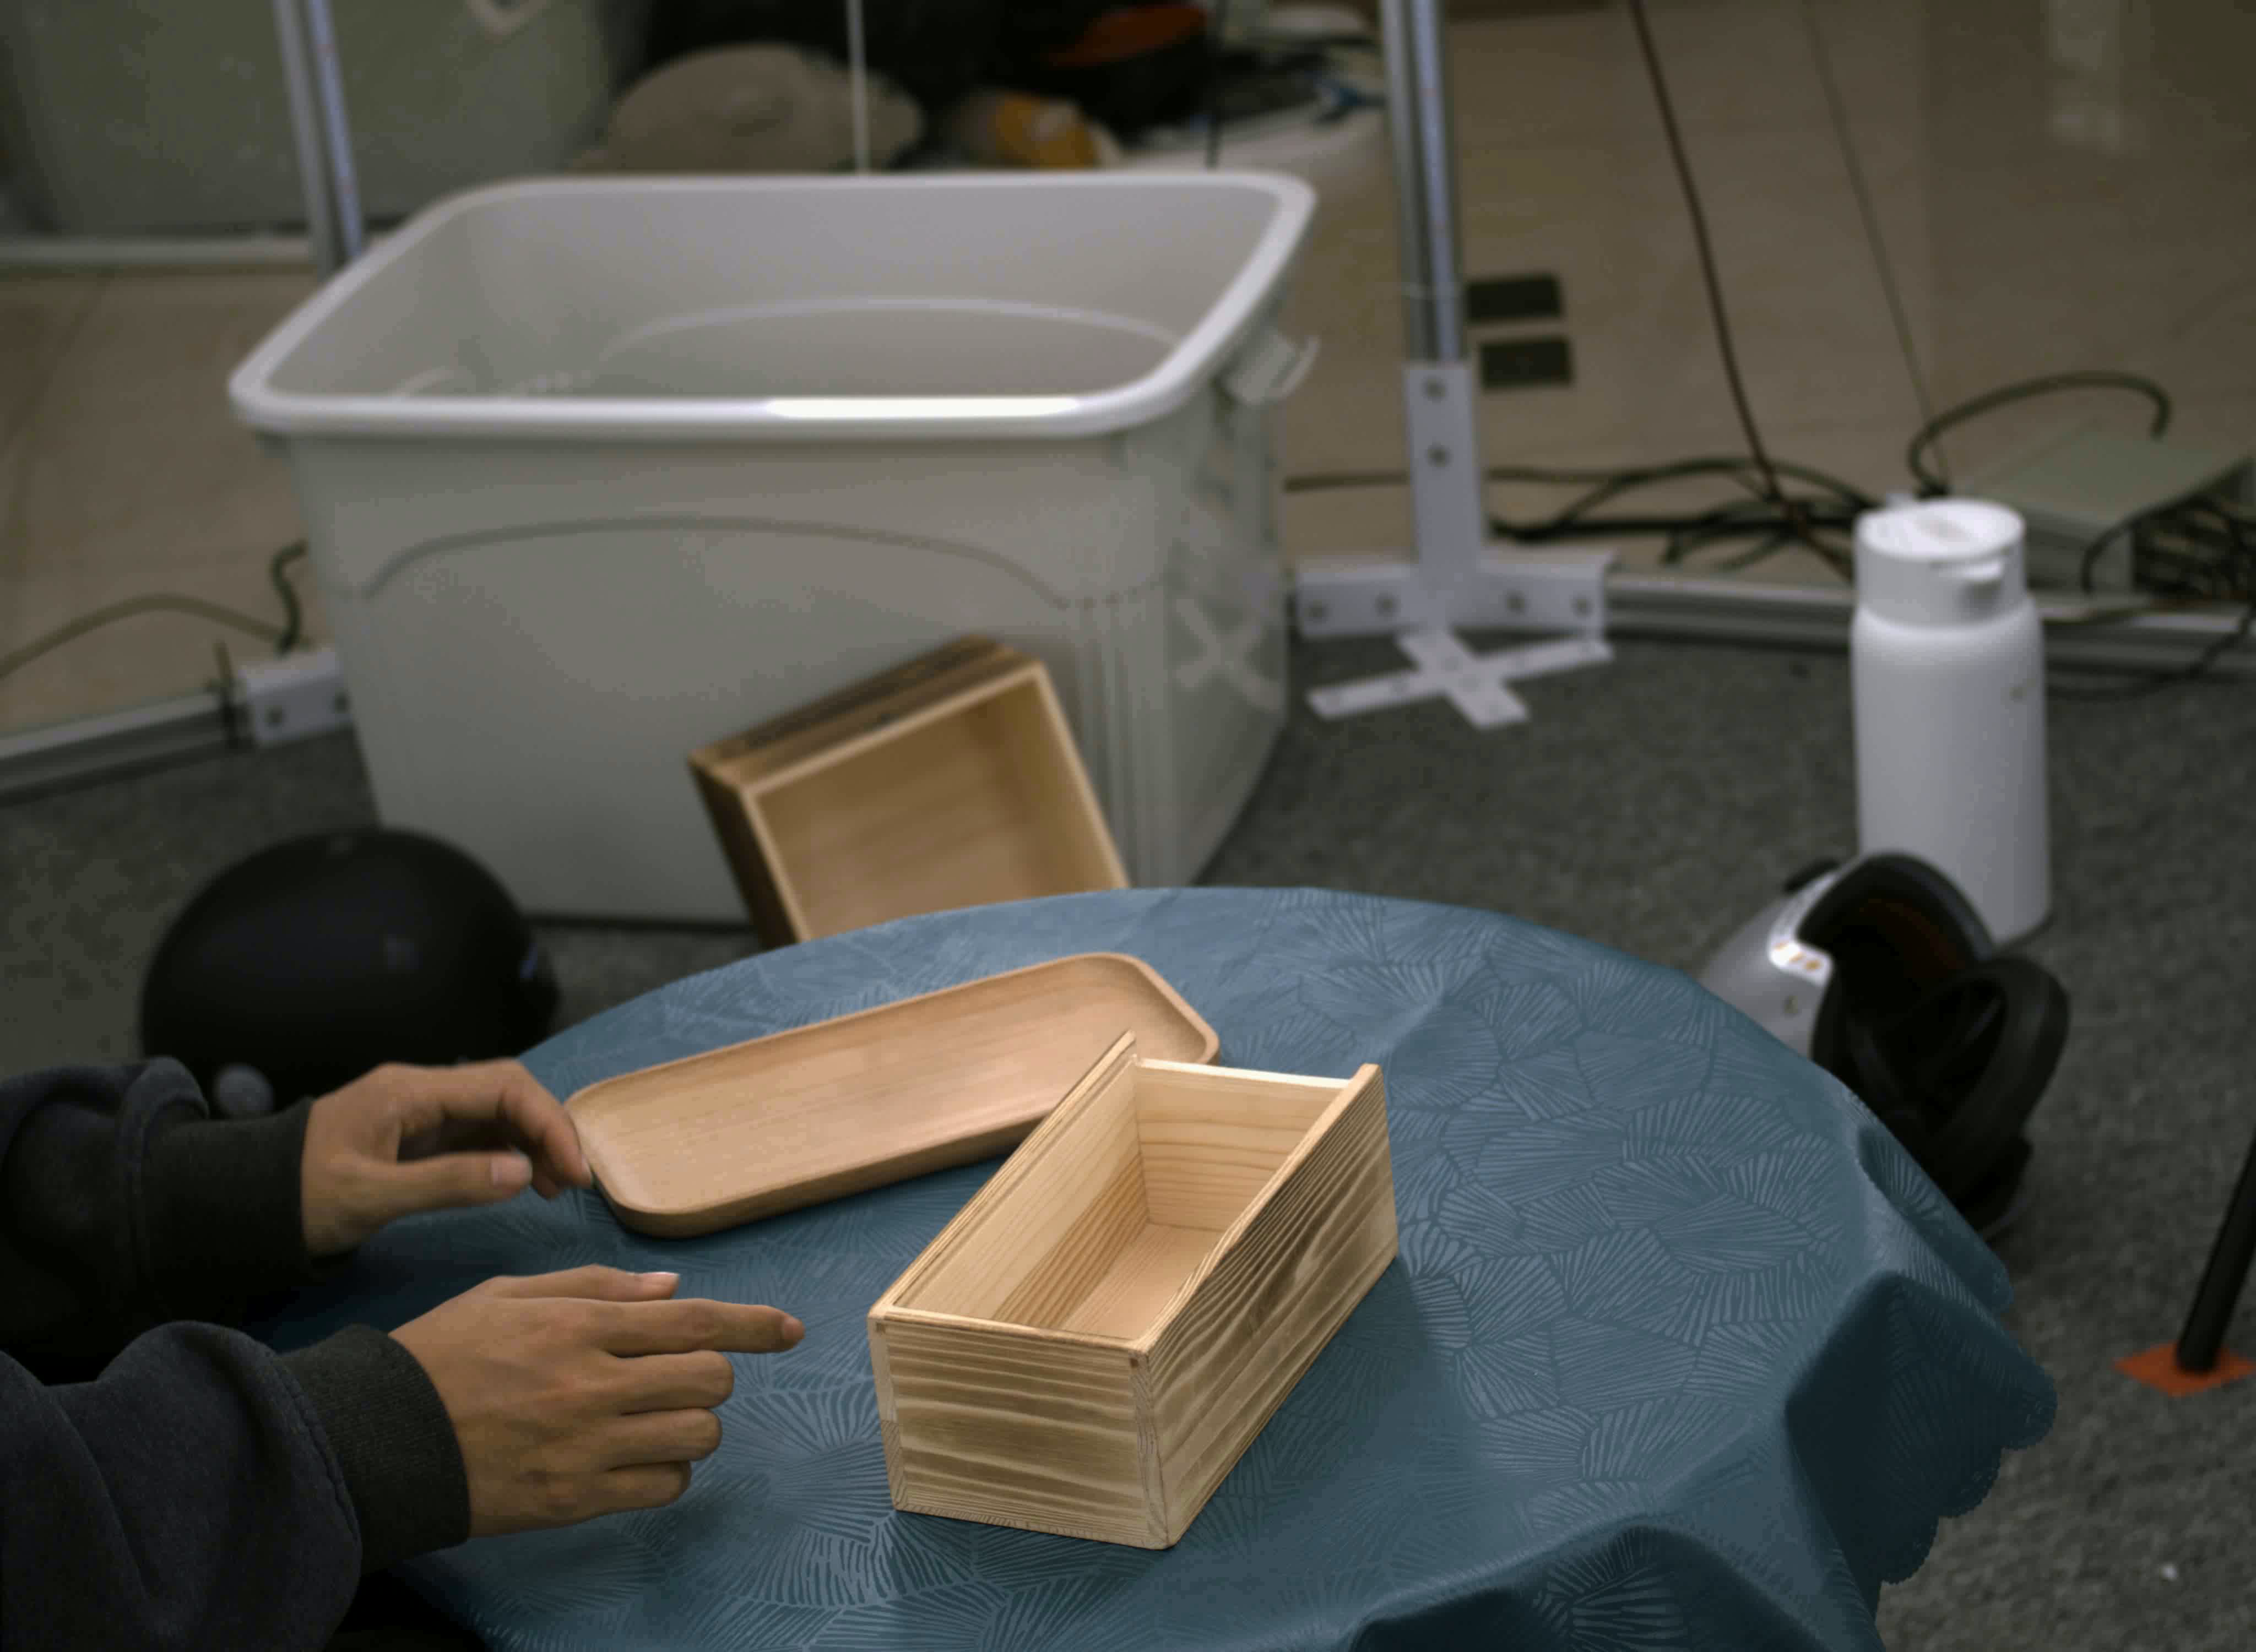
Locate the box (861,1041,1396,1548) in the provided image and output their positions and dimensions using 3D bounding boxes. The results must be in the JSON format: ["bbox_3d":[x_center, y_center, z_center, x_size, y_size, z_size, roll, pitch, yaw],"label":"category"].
[{"bbox_3d":[0.004,0.161,2.003,0.107,0.081,0.209,6,28,24],"label":"box"}]

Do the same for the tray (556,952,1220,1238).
[{"bbox_3d":[-0.094,0.105,2.223,0.250,0.023,0.129,-15,23,-16],"label":"tray"}]
